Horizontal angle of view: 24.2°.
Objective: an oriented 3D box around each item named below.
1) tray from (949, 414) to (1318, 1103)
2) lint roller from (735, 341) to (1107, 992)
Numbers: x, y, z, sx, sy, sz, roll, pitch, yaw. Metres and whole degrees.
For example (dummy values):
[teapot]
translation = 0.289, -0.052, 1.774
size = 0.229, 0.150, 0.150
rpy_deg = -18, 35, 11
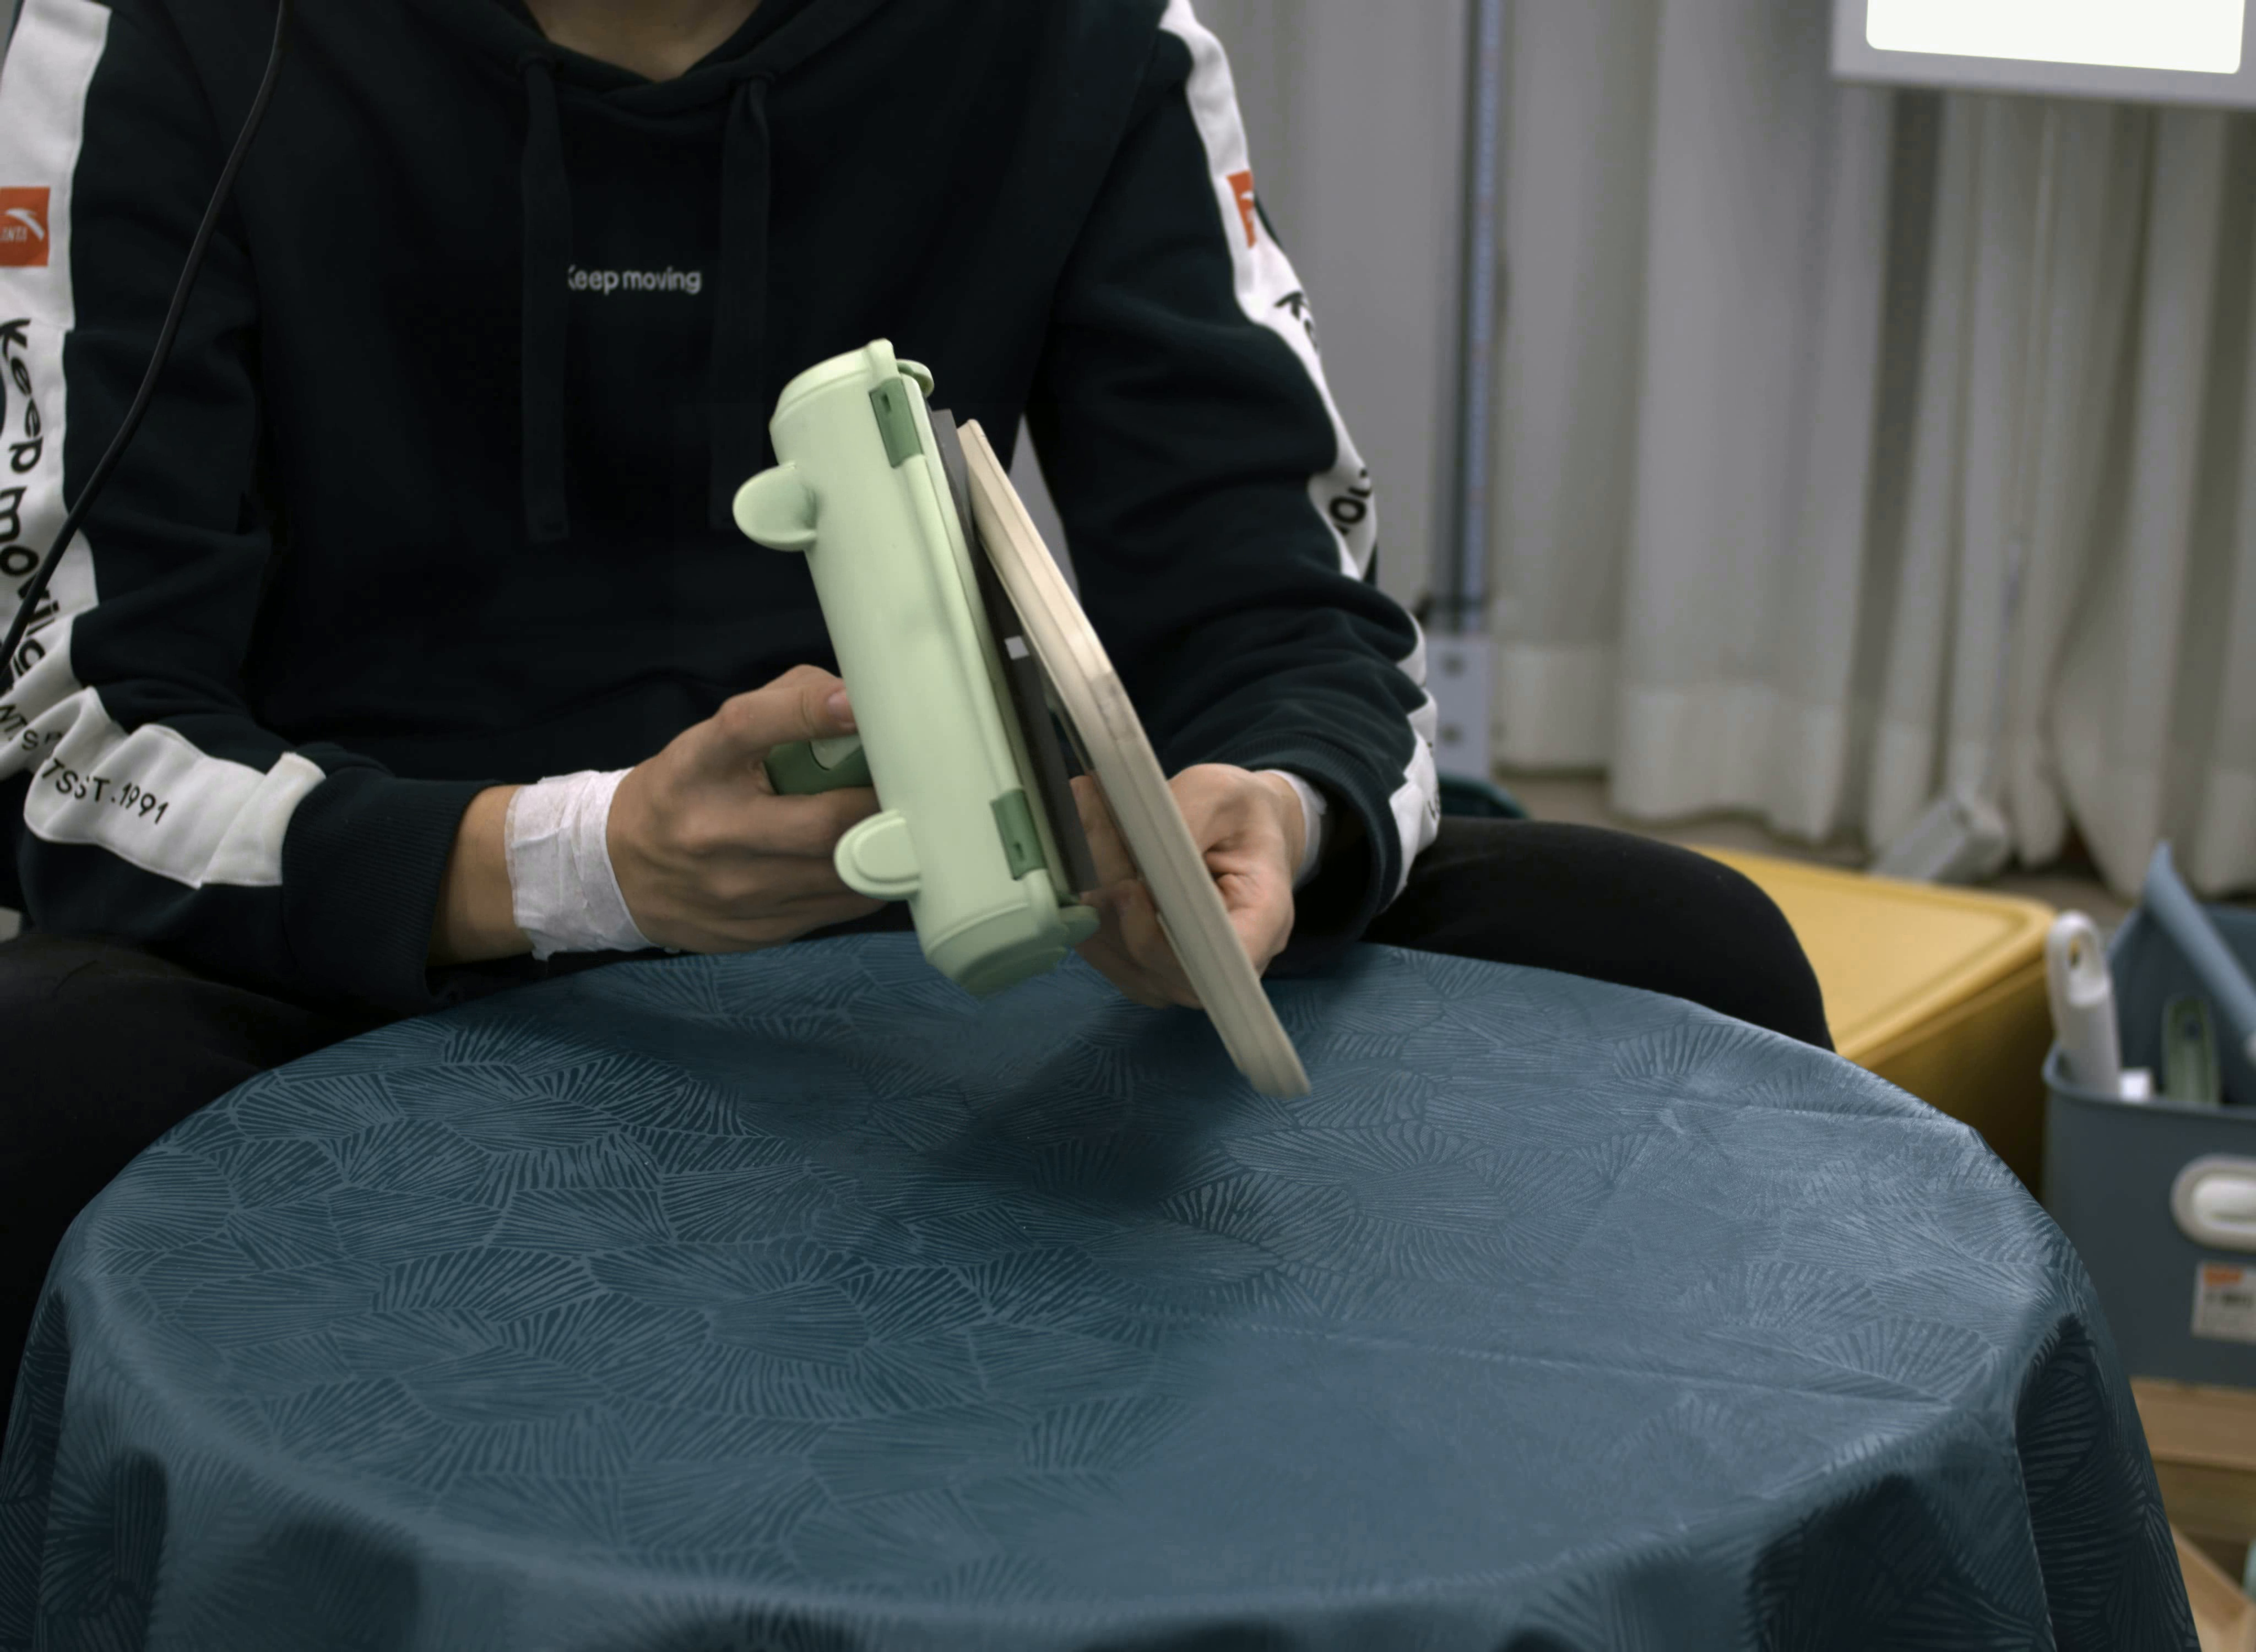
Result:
[tray]
translation = -0.002, -0.022, 1.624
size = 0.017, 0.173, 0.237
rpy_deg = -25, 27, -2
[lint roller]
translation = -0.094, -0.027, 1.644
size = 0.082, 0.198, 0.183
rpy_deg = -7, -17, -39
